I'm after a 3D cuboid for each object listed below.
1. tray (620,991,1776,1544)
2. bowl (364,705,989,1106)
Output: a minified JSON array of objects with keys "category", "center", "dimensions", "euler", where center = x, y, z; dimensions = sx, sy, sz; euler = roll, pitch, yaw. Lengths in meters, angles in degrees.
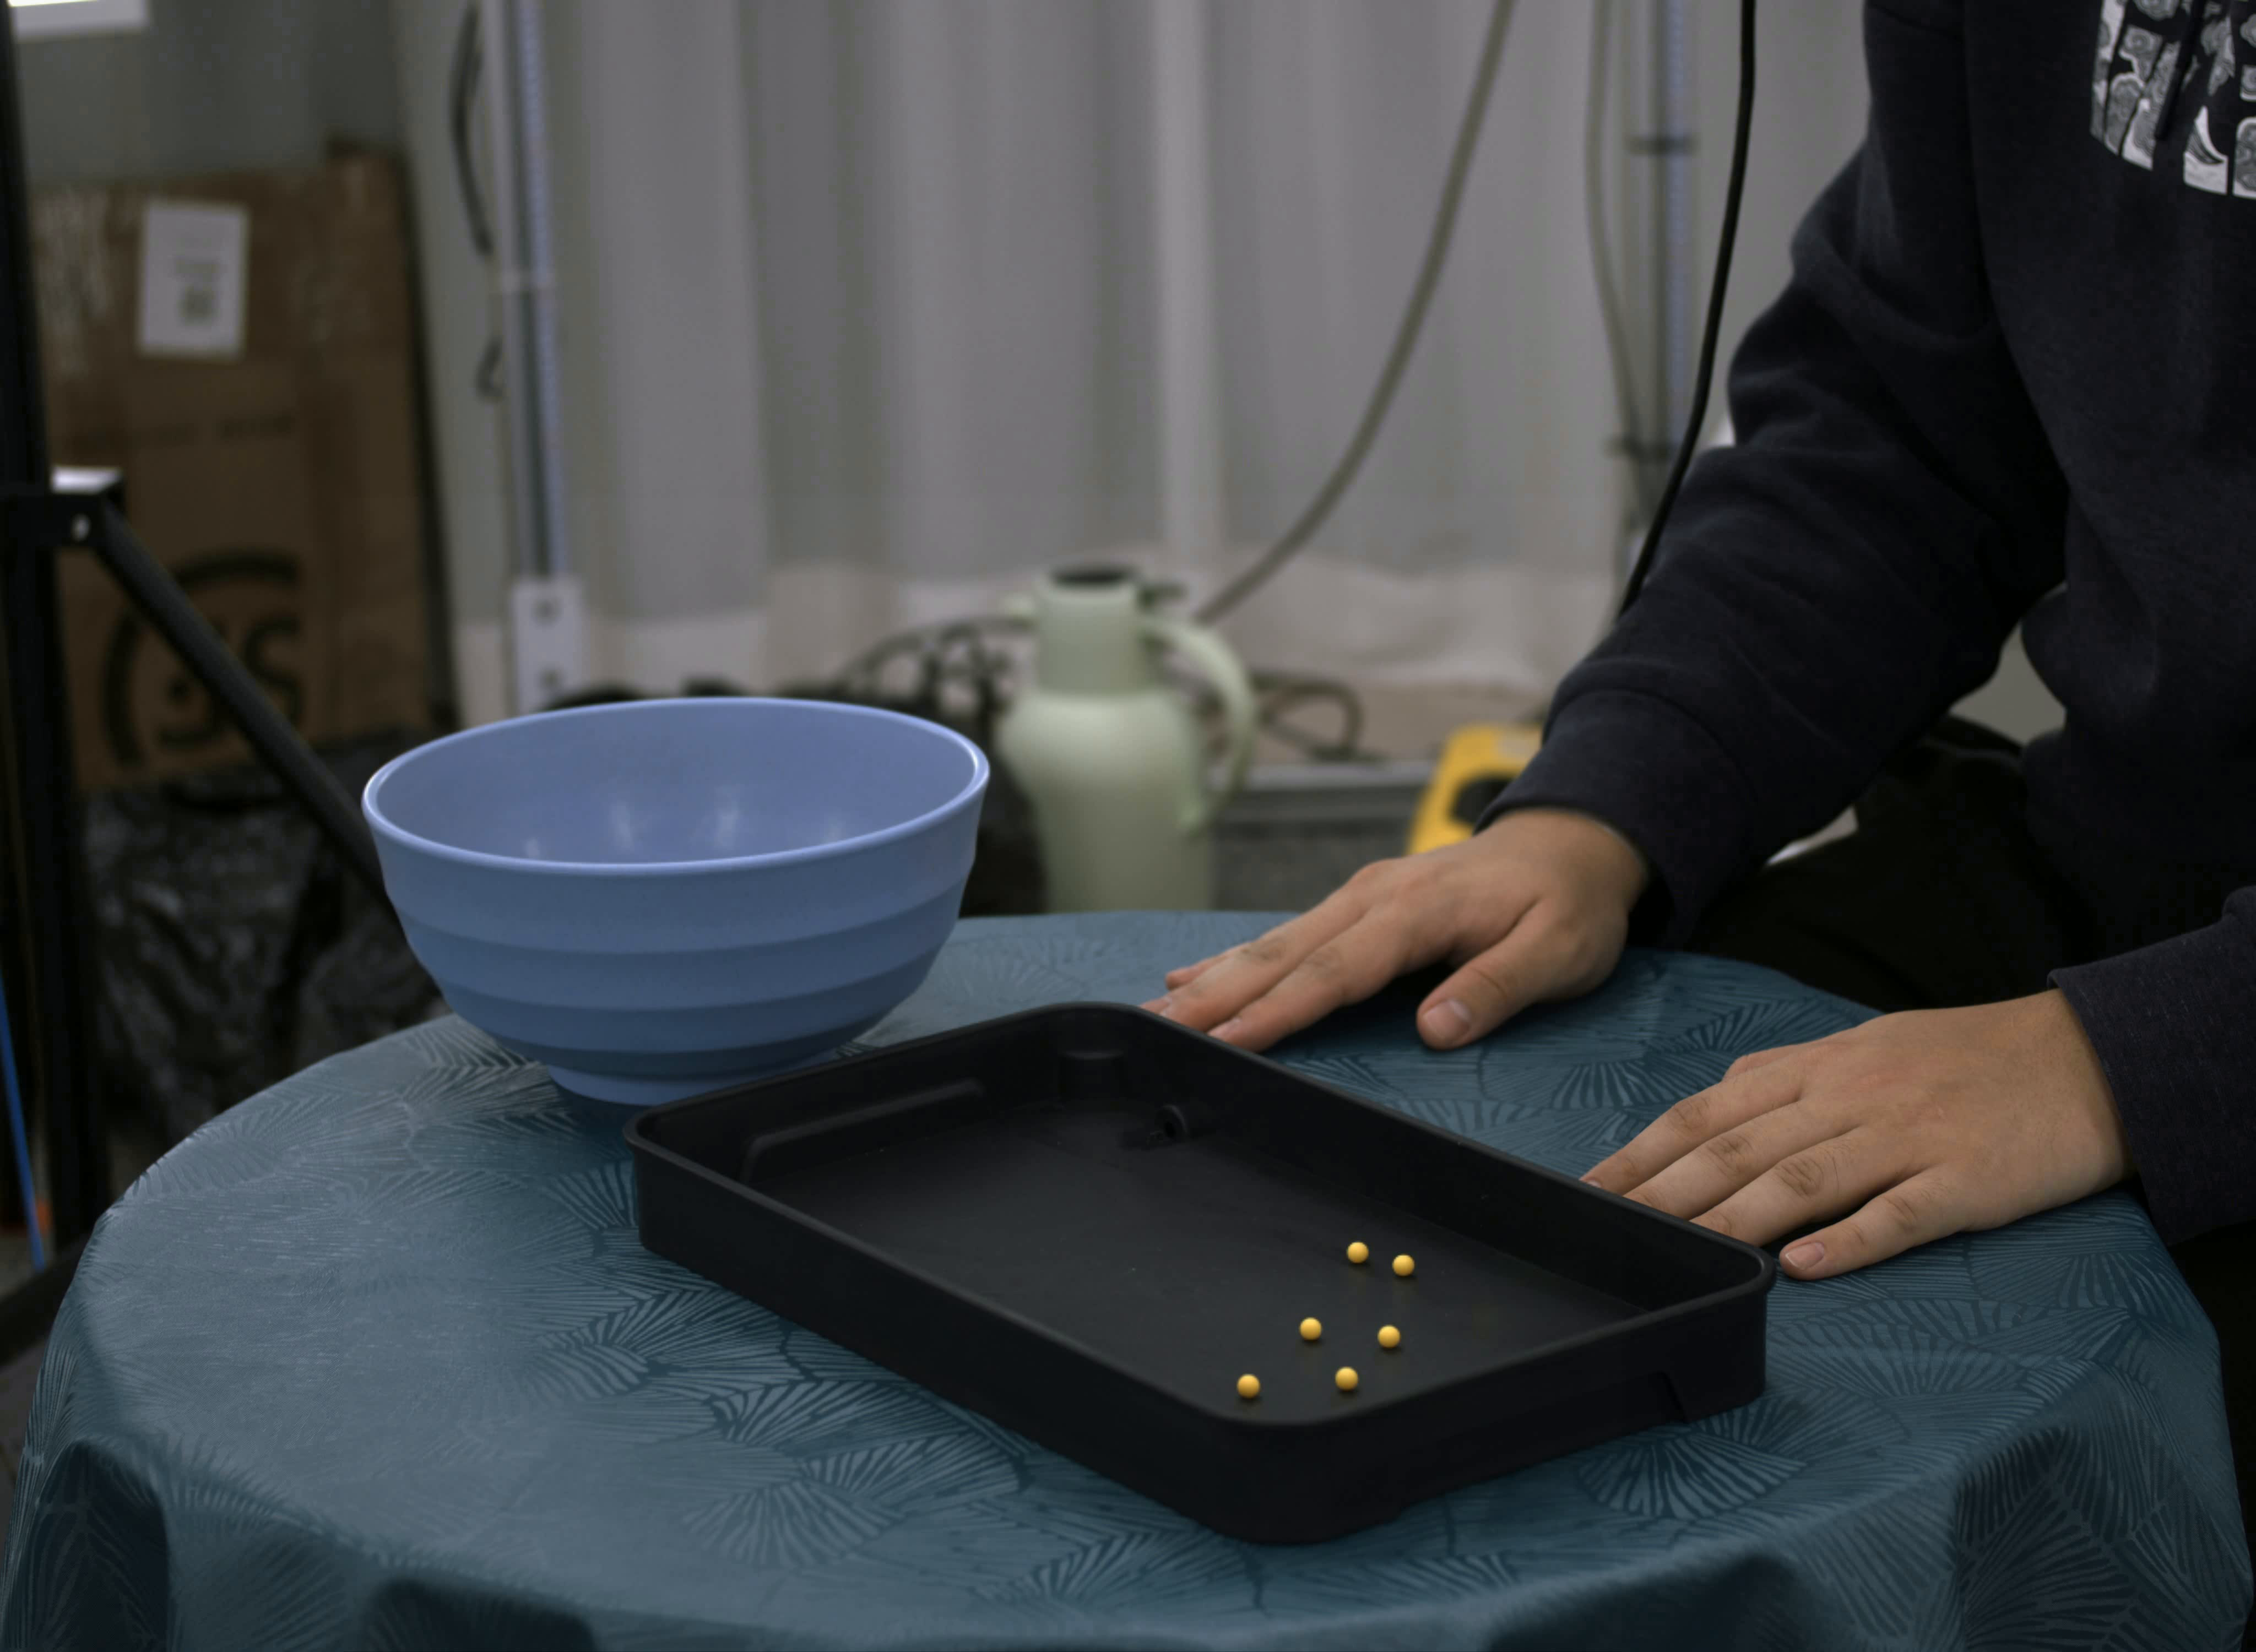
[{"category":"tray","center":[0.013,0.115,1.463],"dimensions":[0.180,0.037,0.325],"euler":[-13,19,-33]},{"category":"bowl","center":[-0.139,0.030,1.682],"dimensions":[0.195,0.095,0.197],"euler":[-3,15,-1]}]
